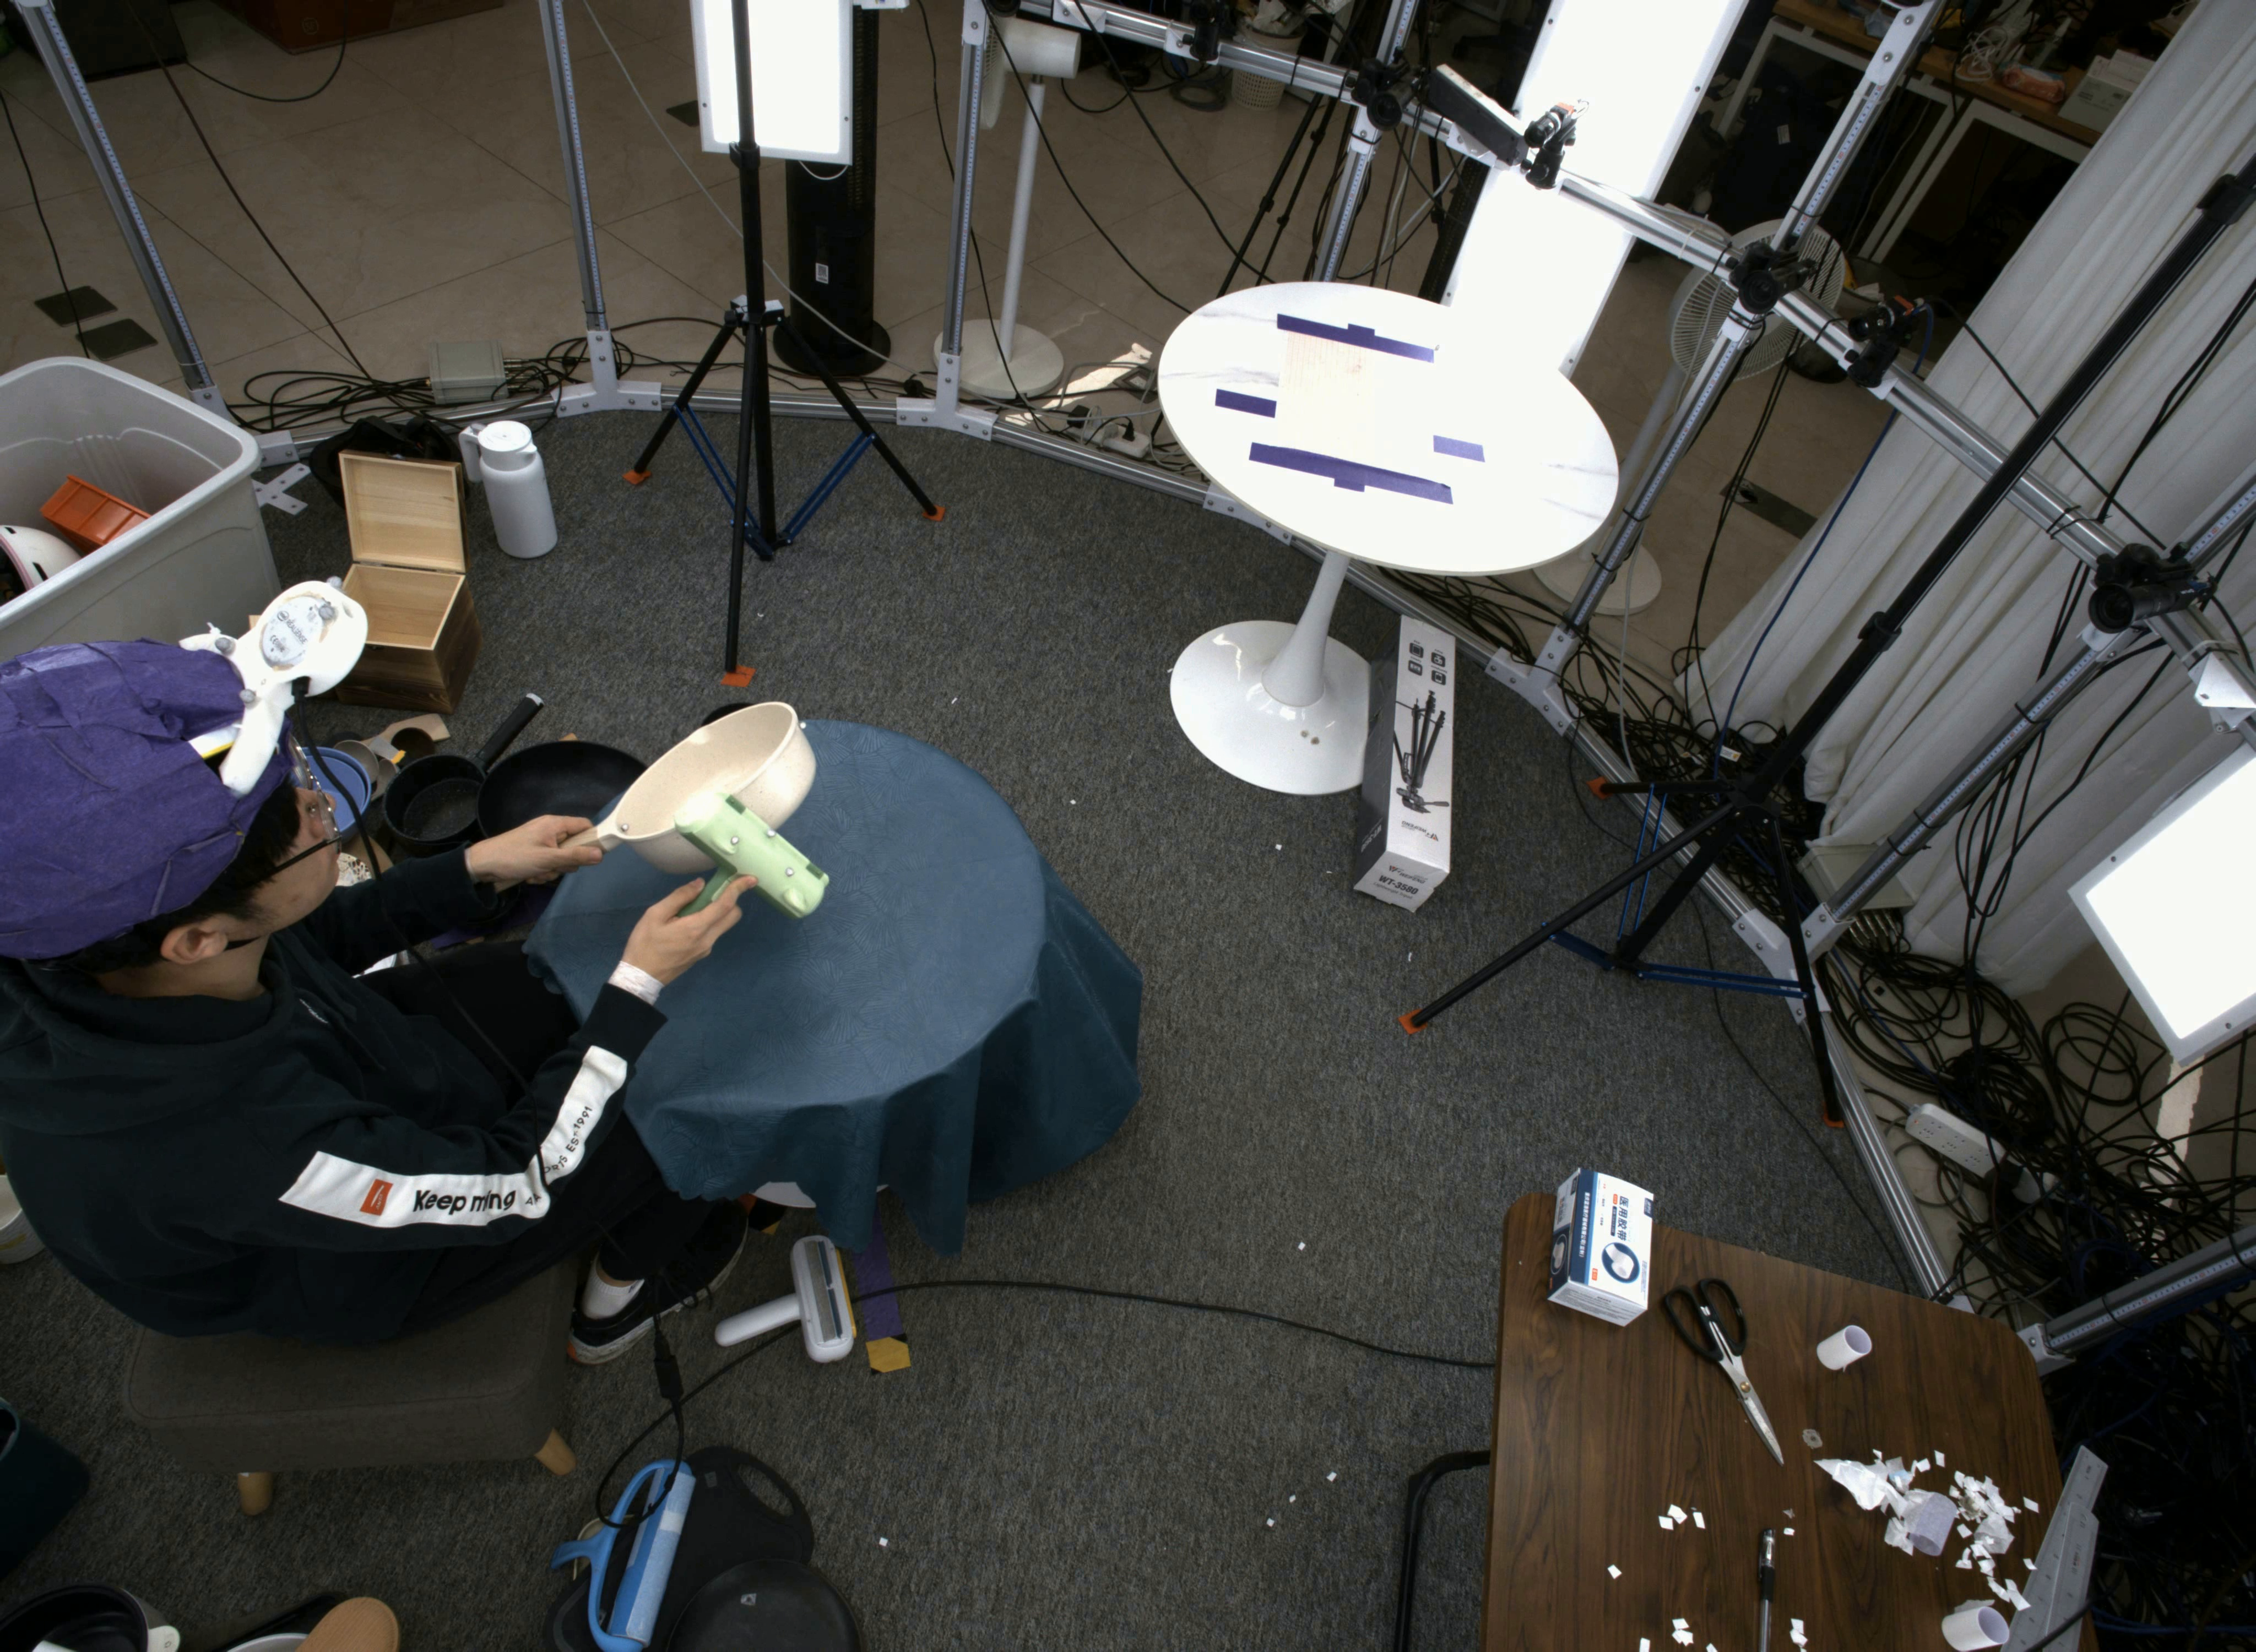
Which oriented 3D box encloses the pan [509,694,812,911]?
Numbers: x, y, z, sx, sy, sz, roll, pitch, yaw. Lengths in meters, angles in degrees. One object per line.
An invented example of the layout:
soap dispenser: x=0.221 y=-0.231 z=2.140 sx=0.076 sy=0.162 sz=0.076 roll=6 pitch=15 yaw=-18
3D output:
pan: x=-0.567 y=-0.001 z=1.521 sx=0.433 sy=0.106 sz=0.254 roll=-32 pitch=35 yaw=-5

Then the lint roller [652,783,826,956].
lint roller: x=-0.446 y=0.076 z=1.410 sx=0.079 sy=0.206 sz=0.183 roll=26 pitch=73 yaw=42
